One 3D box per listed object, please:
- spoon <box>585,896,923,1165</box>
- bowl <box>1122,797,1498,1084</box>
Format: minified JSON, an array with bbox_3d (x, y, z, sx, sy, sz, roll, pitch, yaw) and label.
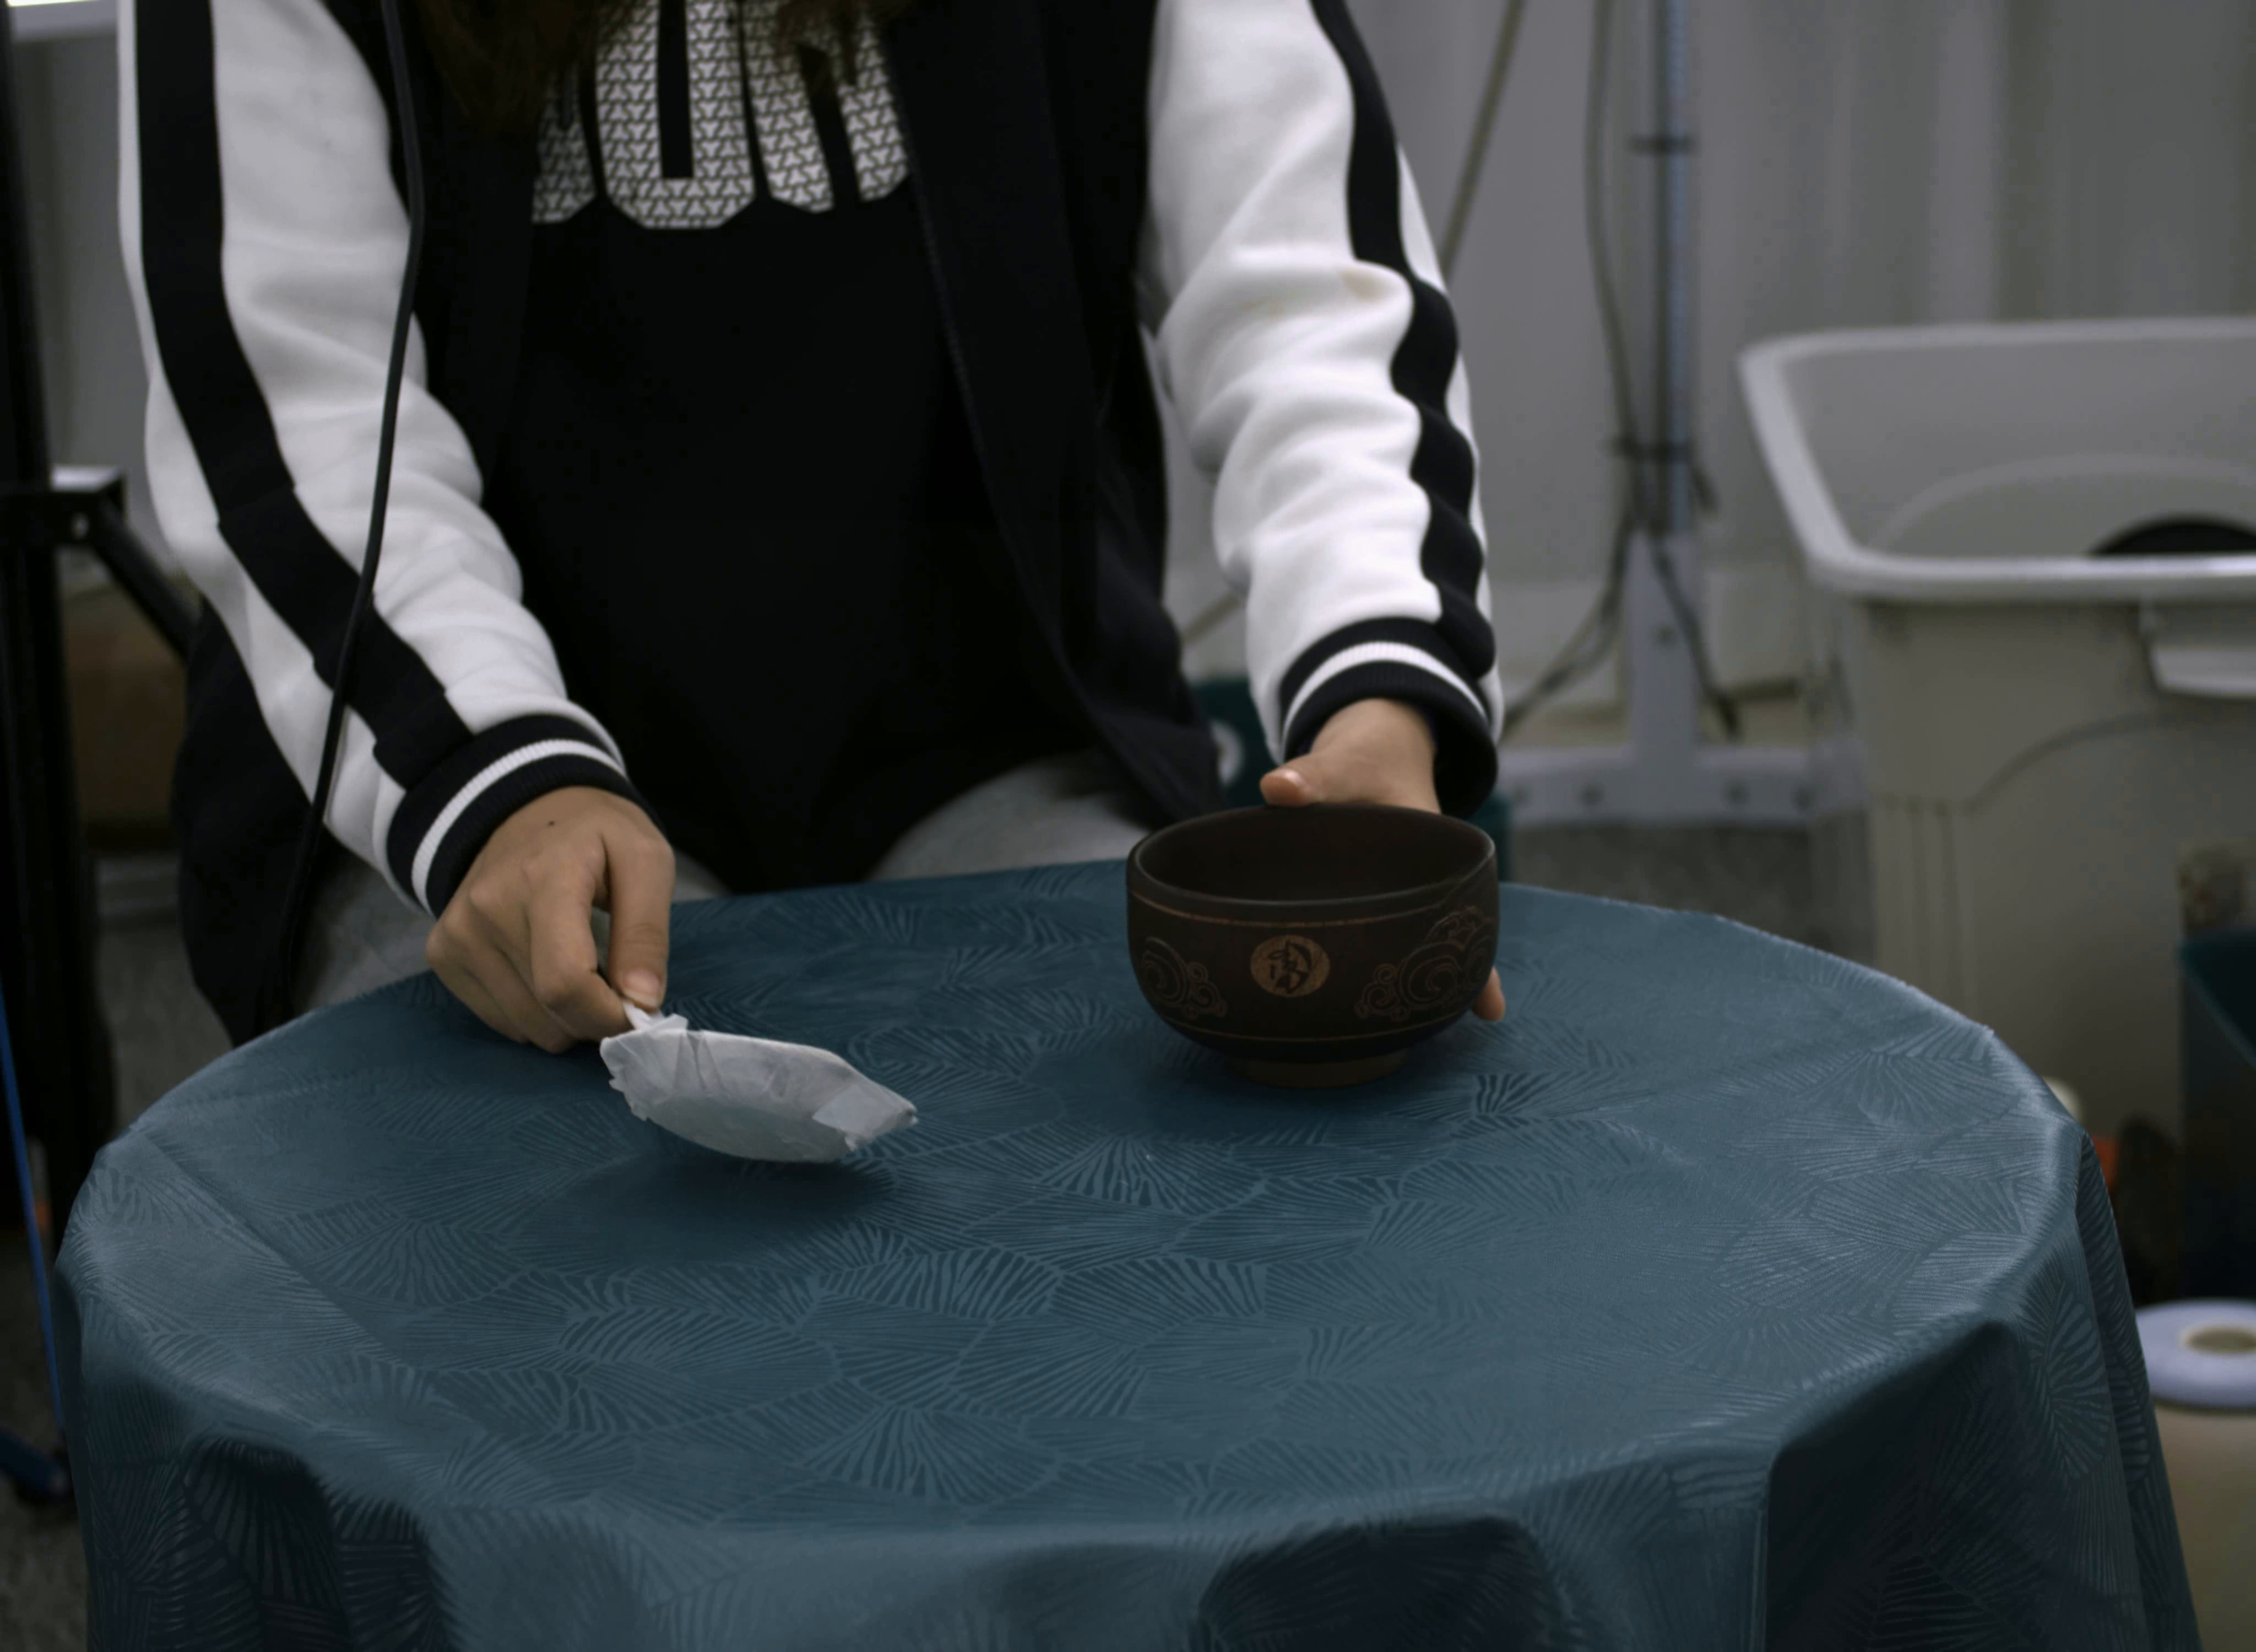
[{"bbox_3d":[-0.128,0.046,1.654,0.099,0.059,0.281,23,11,-19],"label":"spoon"},{"bbox_3d":[0.057,0.039,1.657,0.117,0.070,0.118,-2,15,-1],"label":"bowl"}]
